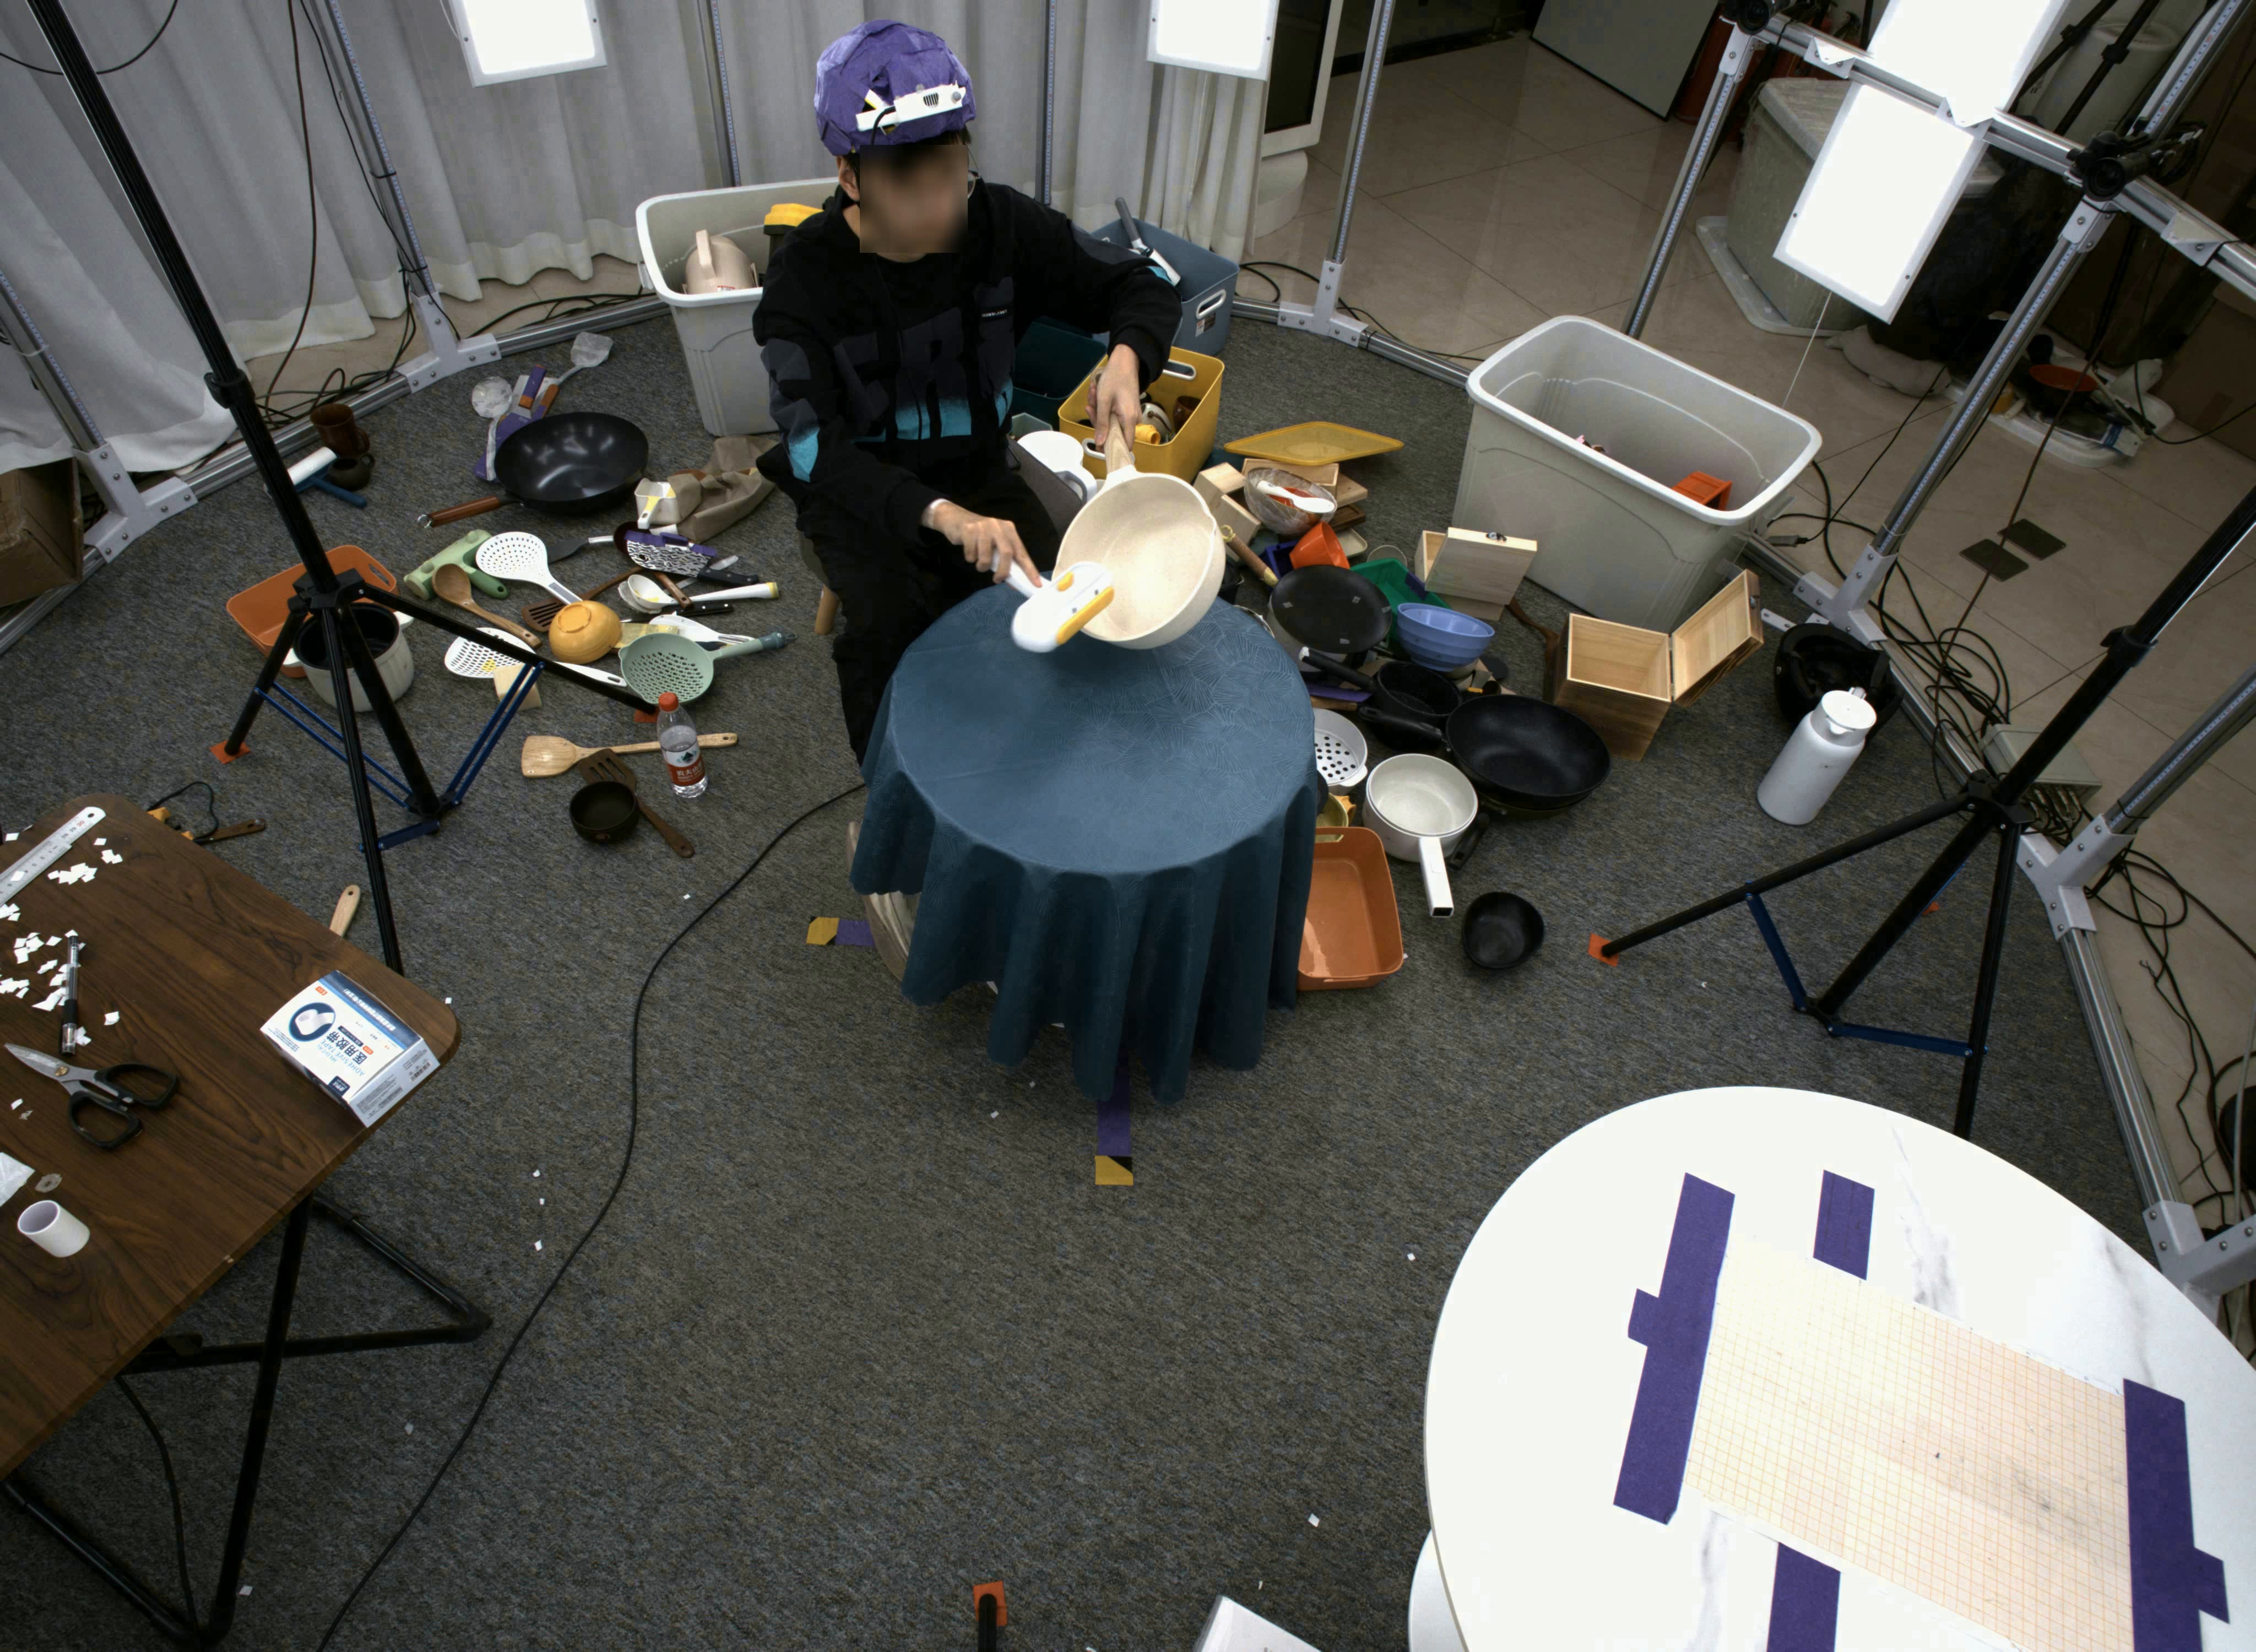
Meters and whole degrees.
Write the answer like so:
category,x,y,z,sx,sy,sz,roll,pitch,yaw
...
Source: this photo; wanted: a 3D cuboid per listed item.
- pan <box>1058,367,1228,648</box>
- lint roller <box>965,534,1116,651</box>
category,x,y,z,sx,sy,sz,roll,pitch,yaw
pan,0.012,-0.457,1.854,0.262,0.100,0.443,-20,65,26
lint roller,-0.134,-0.328,1.730,0.194,0.072,0.196,27,49,13
